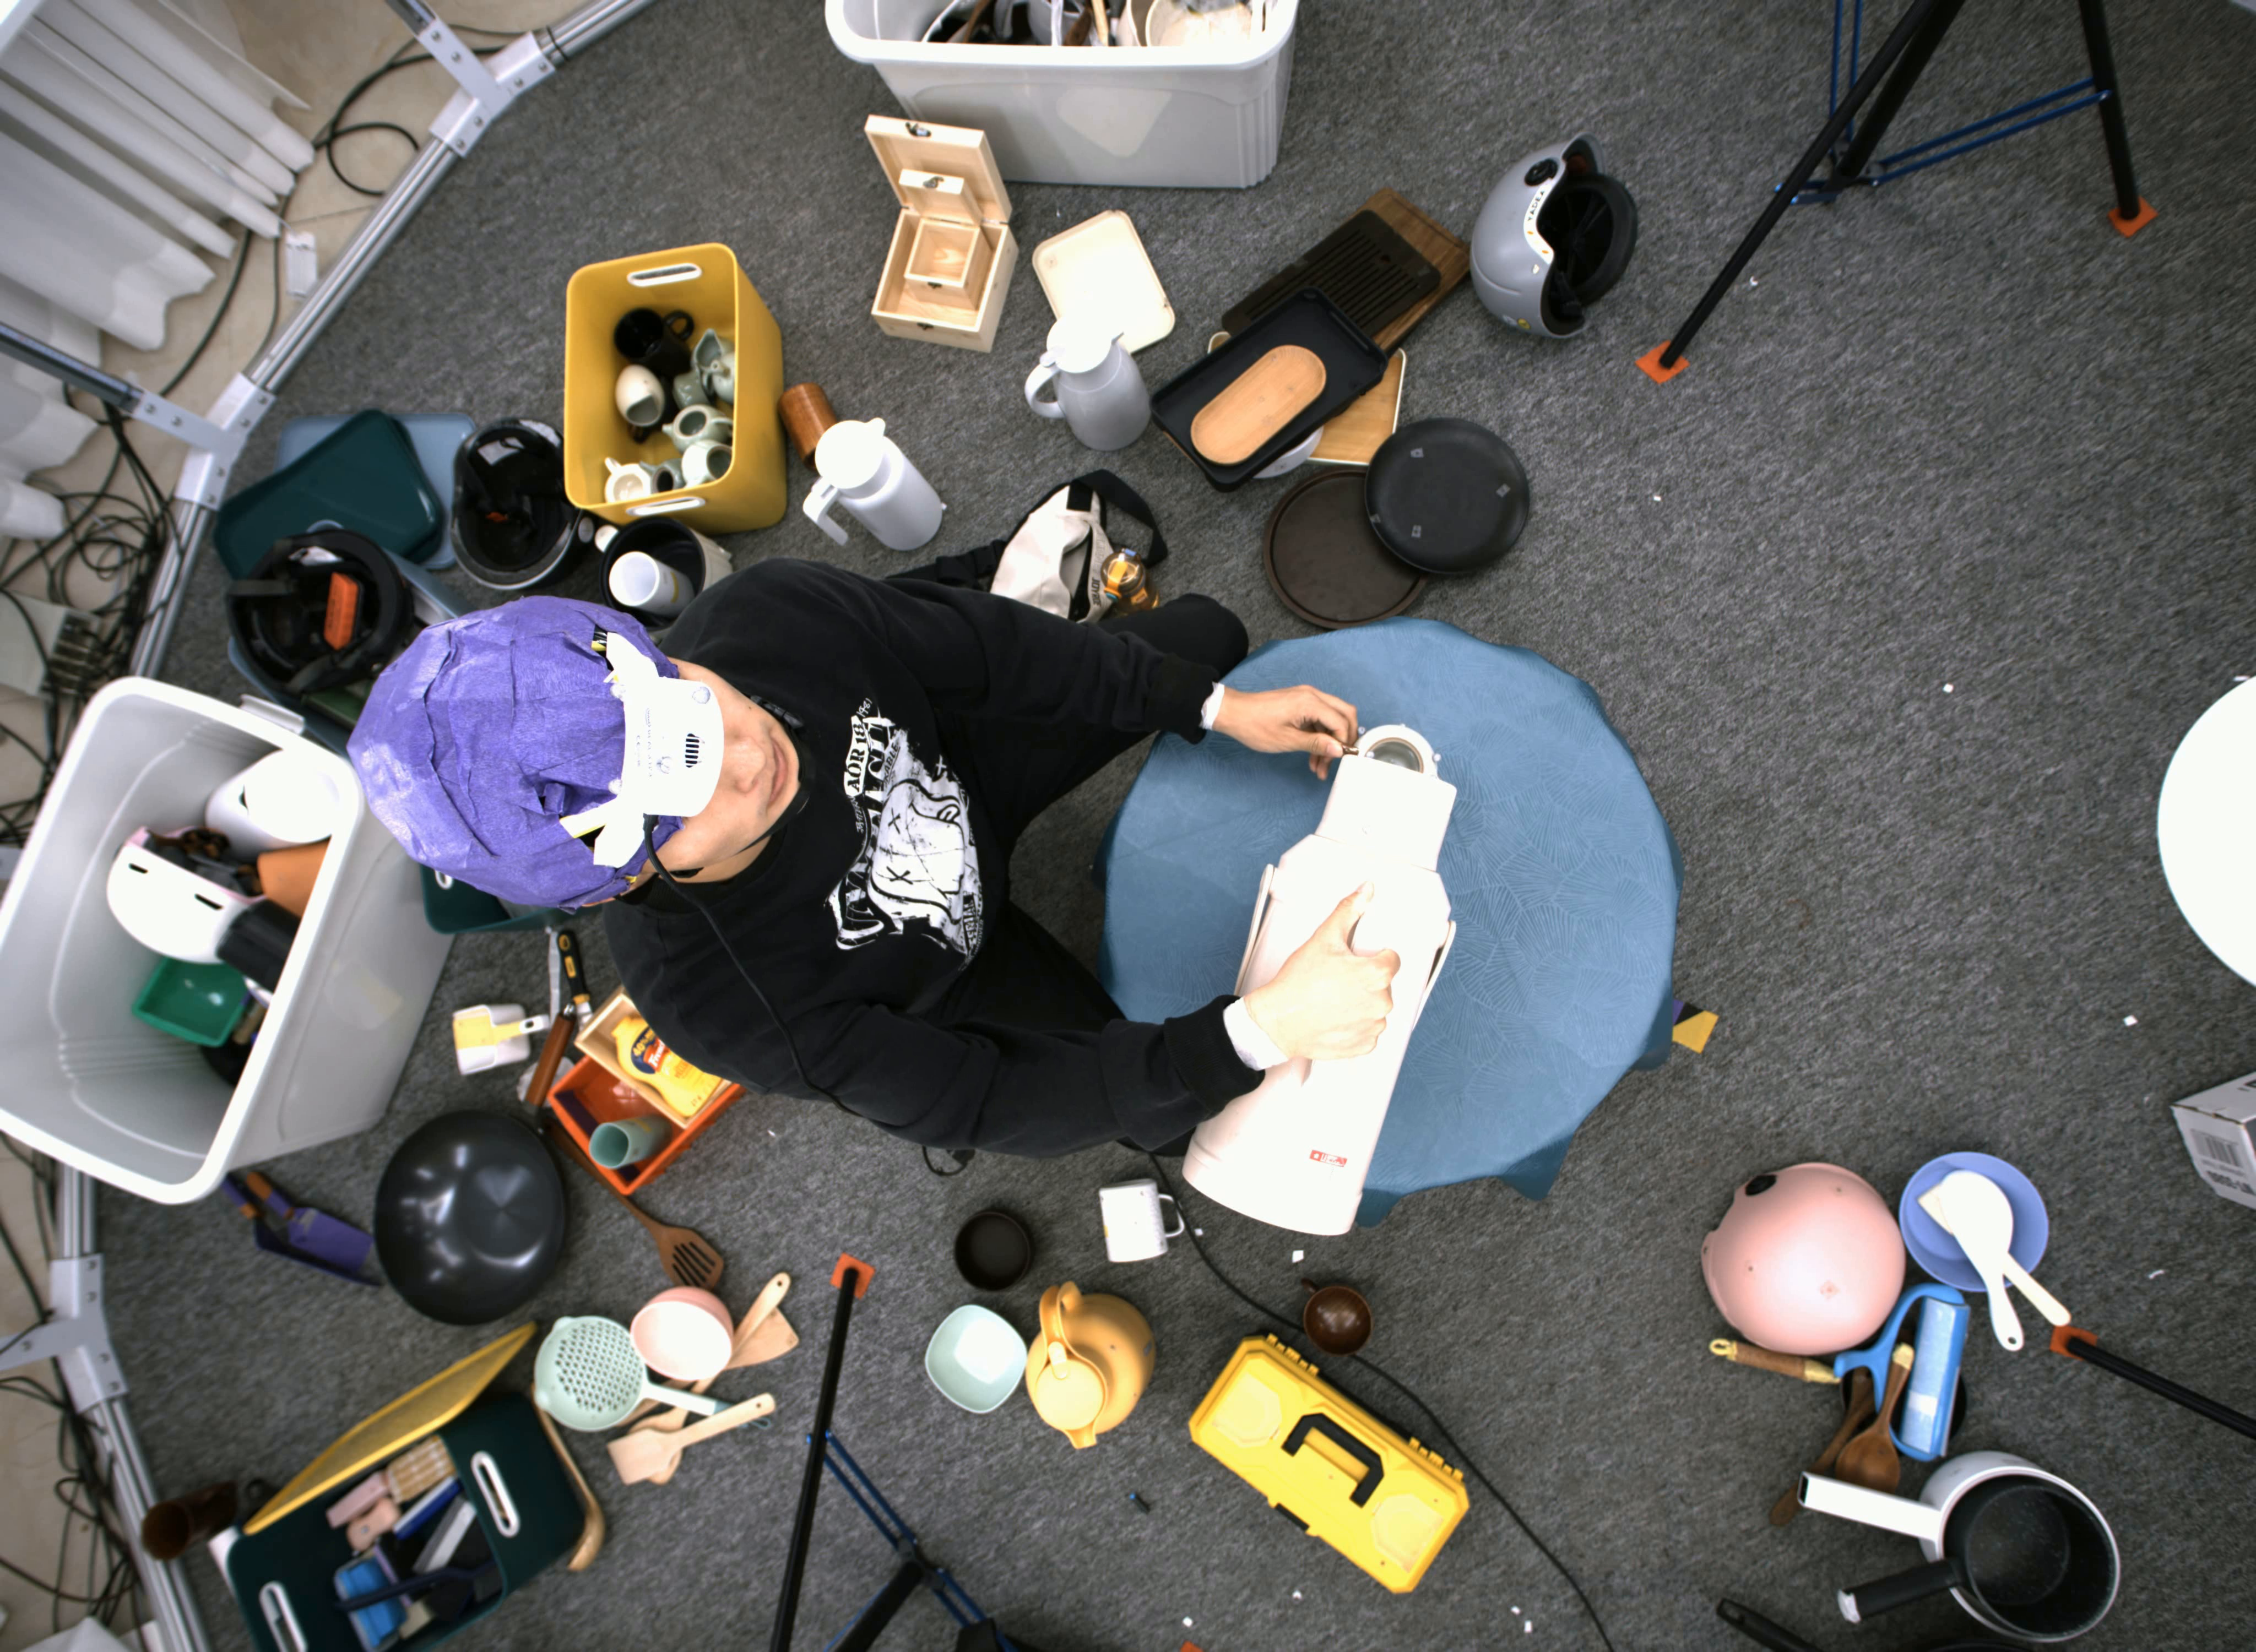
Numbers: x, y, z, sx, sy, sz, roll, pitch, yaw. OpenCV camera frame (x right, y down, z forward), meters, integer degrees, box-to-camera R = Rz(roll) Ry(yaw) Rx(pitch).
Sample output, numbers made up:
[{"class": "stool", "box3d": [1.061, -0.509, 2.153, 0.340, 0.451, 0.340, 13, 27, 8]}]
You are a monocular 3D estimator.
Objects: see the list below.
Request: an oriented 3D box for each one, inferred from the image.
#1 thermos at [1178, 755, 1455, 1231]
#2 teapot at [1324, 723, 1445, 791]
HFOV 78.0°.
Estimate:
[{"class": "thermos", "box3d": [0.177, 0.143, 1.222, 0.175, 0.206, 0.408, 18, 95, 0]}, {"class": "teapot", "box3d": [0.258, -0.062, 1.390, 0.128, 0.059, 0.092, 21, 96, 8]}]
